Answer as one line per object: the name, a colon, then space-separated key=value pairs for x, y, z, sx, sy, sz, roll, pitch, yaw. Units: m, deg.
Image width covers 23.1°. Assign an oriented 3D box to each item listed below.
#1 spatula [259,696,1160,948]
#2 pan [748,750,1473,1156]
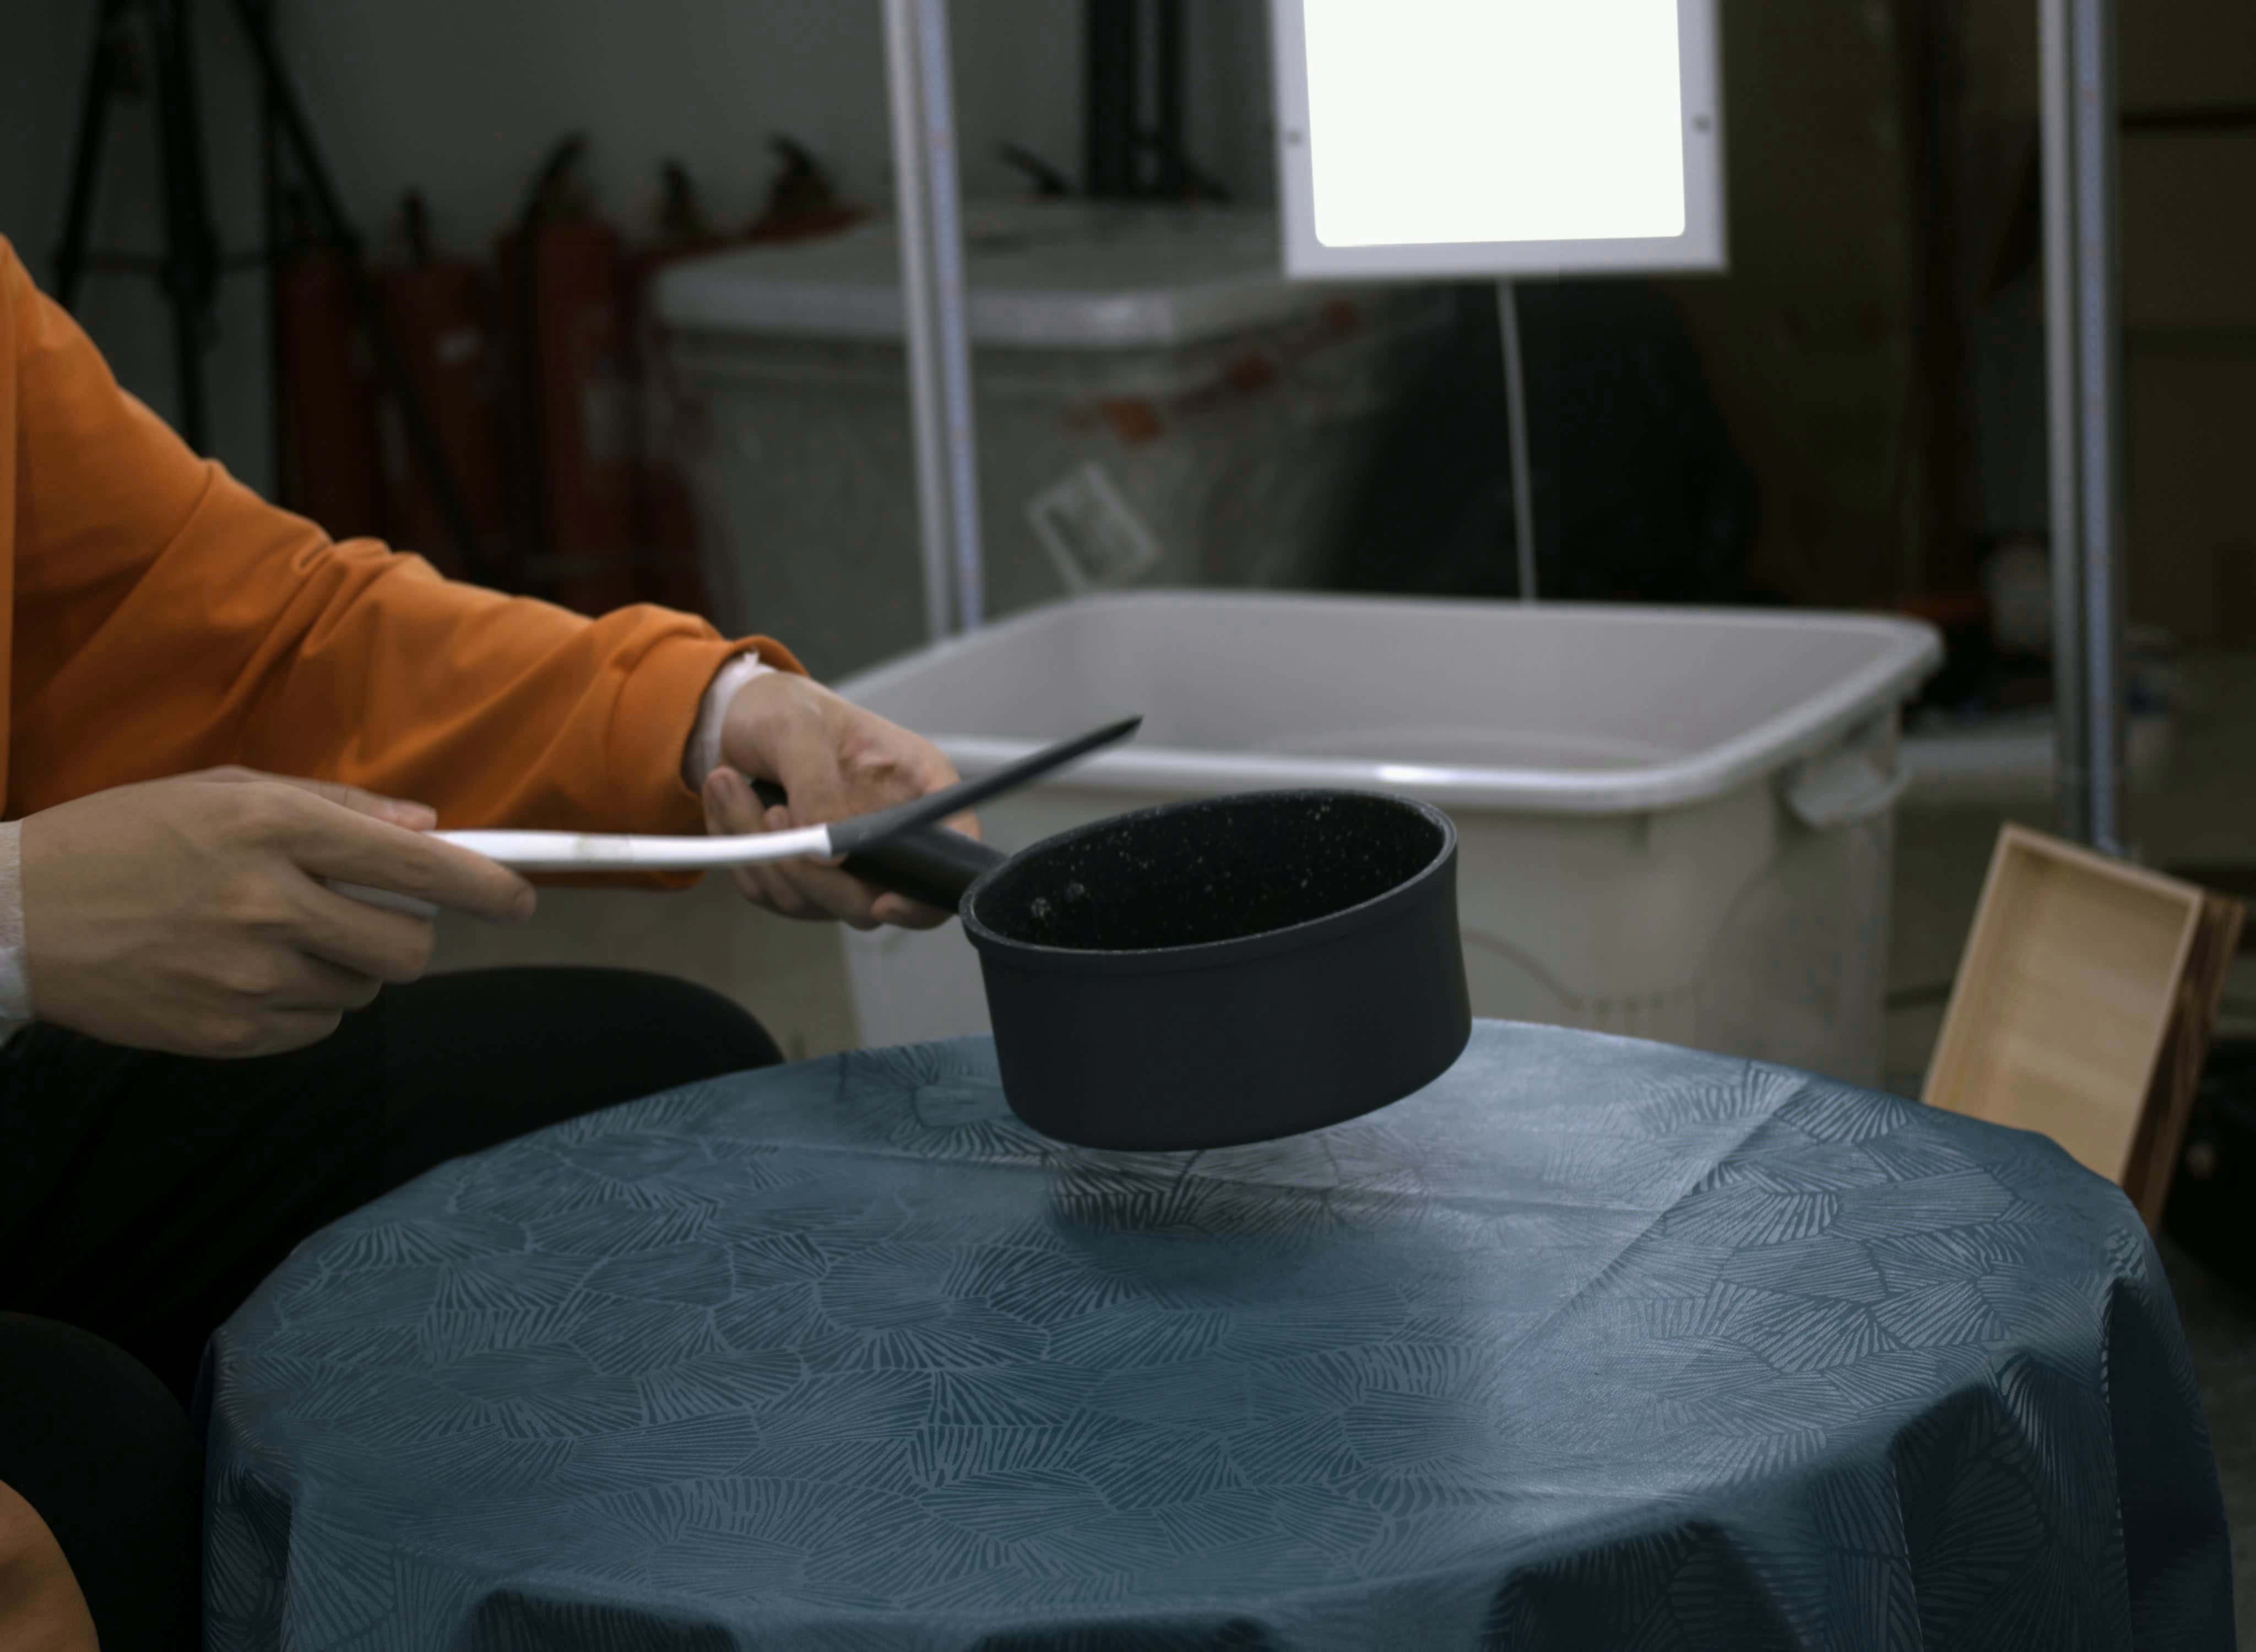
spatula: x=-0.129 y=-0.004 z=1.739 sx=0.285 sy=0.032 sz=0.059 roll=-11 pitch=-6 yaw=-5
pan: x=-0.020 y=0.037 z=1.937 sx=0.168 sy=0.087 sz=0.336 roll=-21 pitch=21 yaw=-36
